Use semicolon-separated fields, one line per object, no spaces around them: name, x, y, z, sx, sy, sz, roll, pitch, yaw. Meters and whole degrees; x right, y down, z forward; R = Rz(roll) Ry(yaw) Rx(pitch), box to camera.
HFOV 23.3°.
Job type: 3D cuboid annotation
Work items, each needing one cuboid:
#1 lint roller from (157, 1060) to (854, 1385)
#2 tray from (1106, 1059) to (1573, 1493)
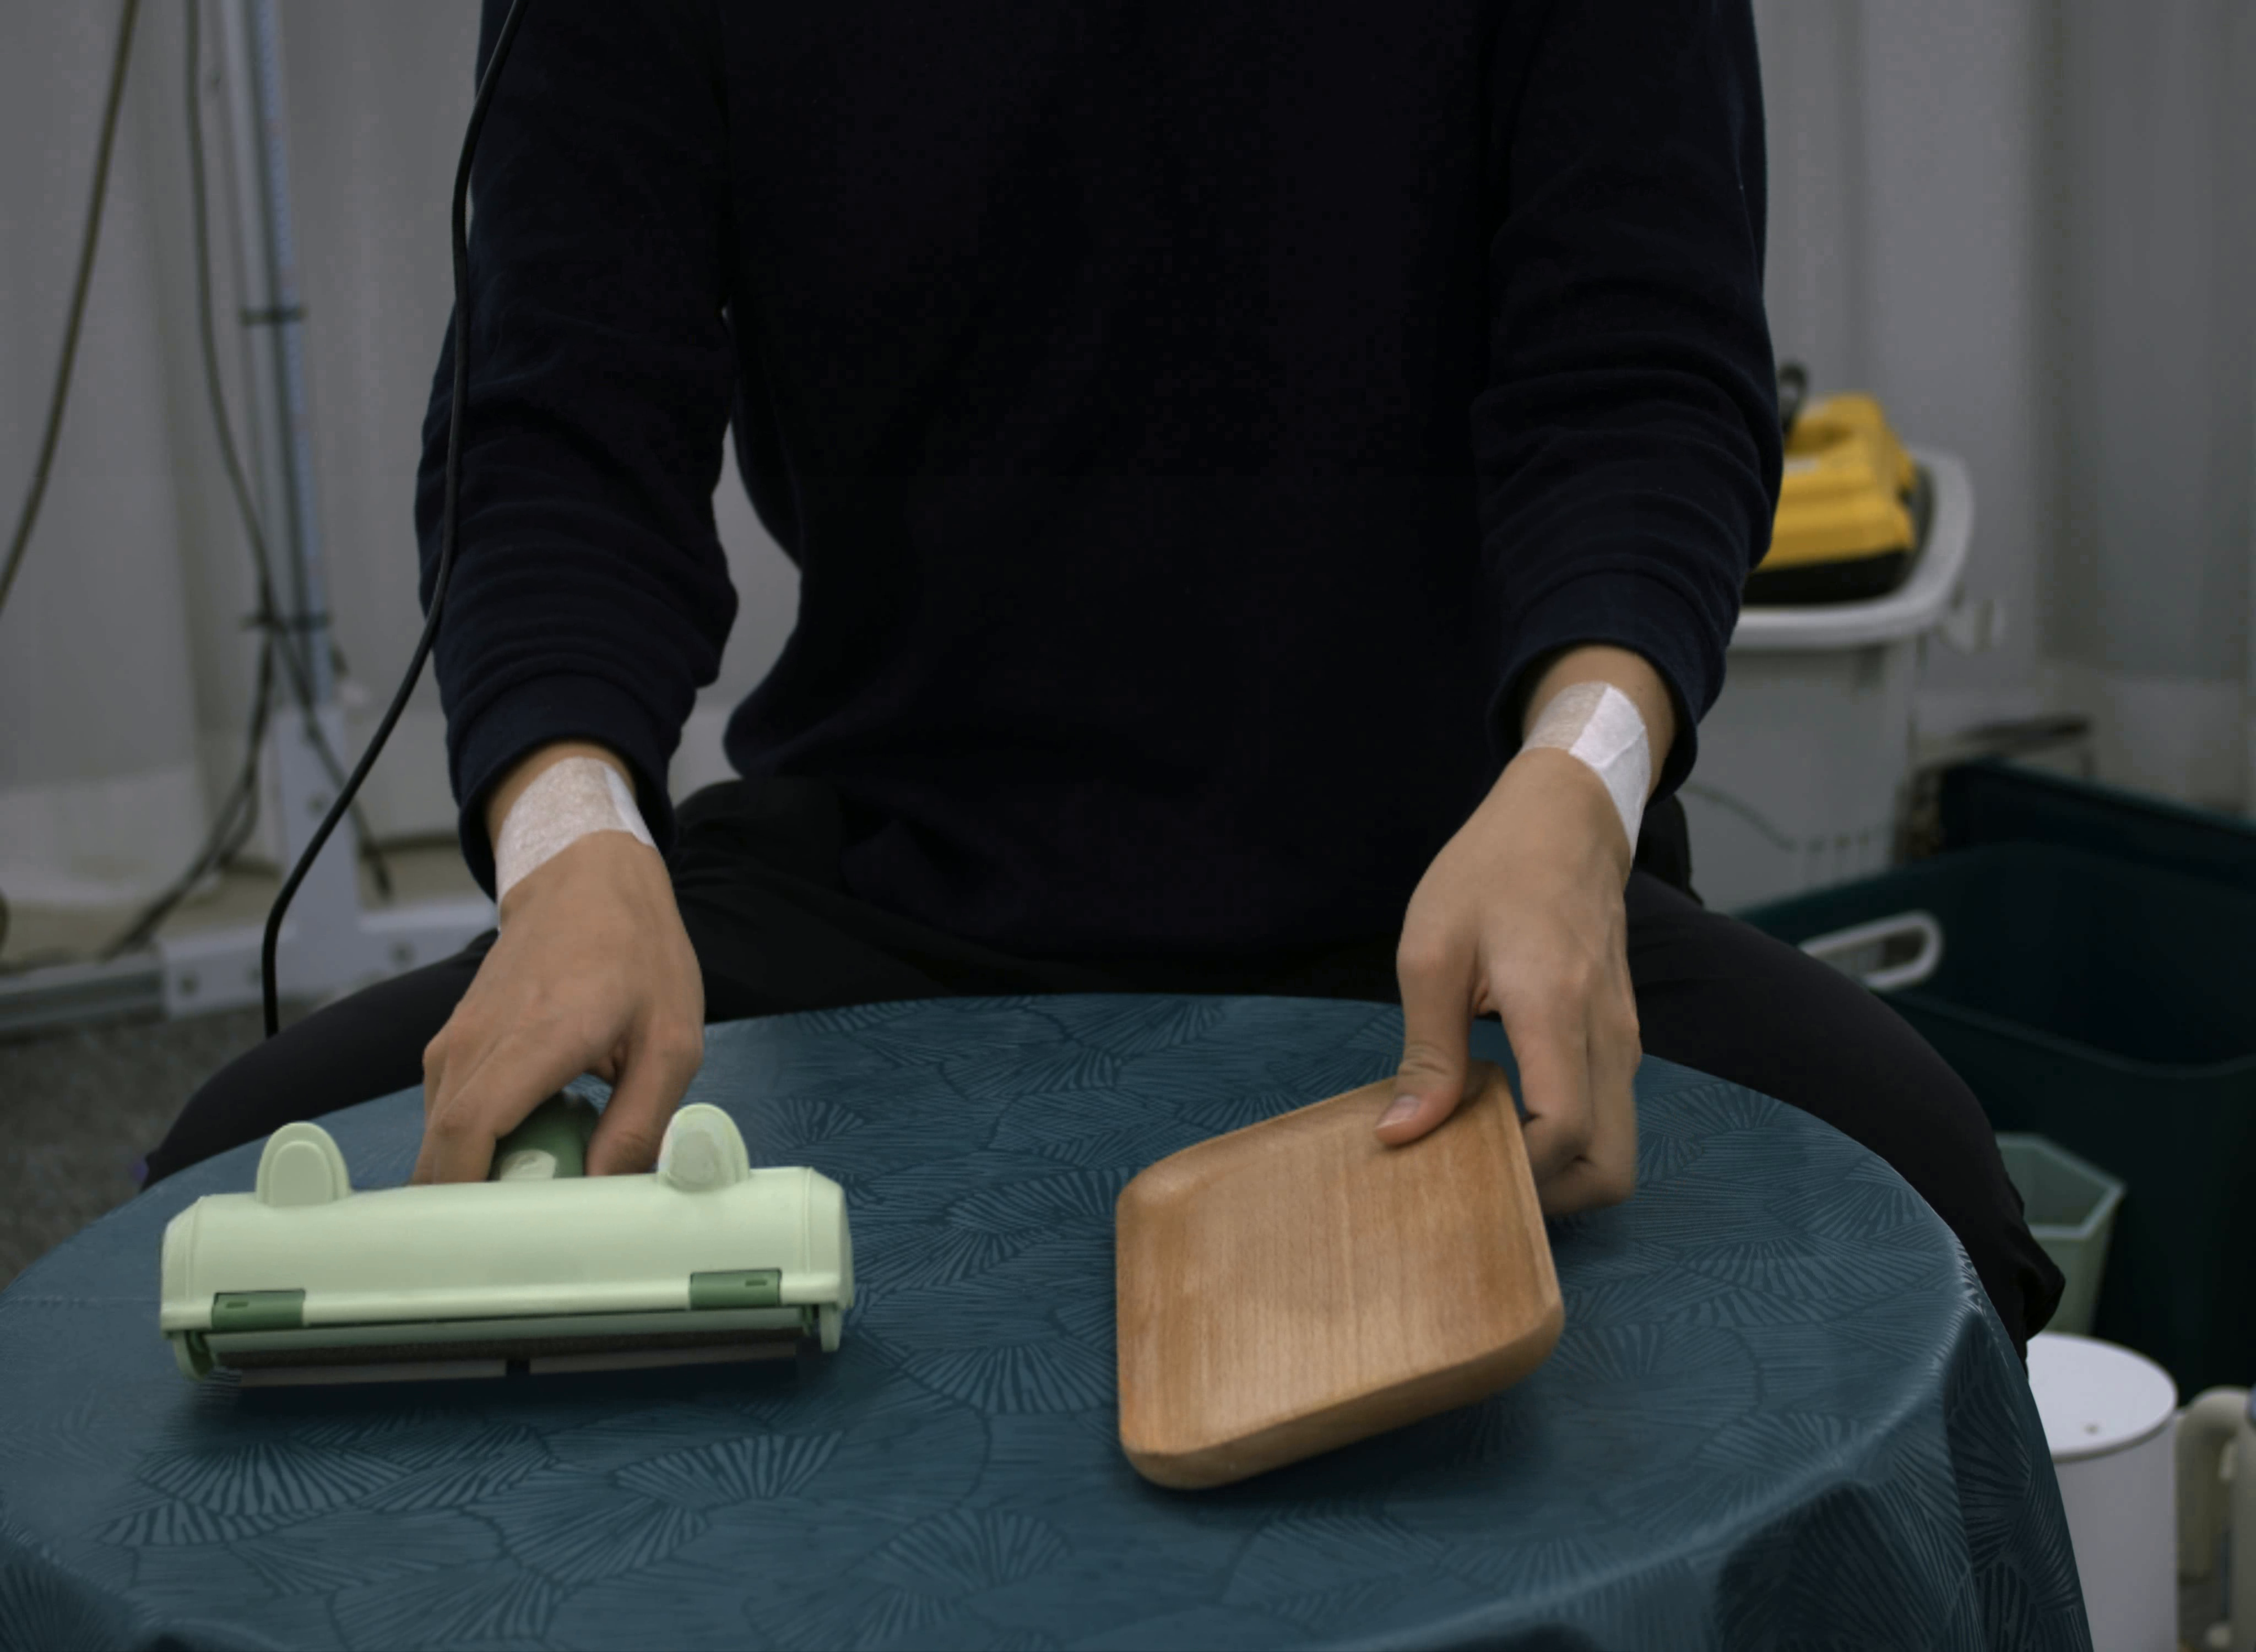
lint roller;-0.180;0.096;1.624;0.198;0.081;0.185;-3;28;0
tray;0.058;0.126;1.571;0.130;0.023;0.252;-16;14;4
